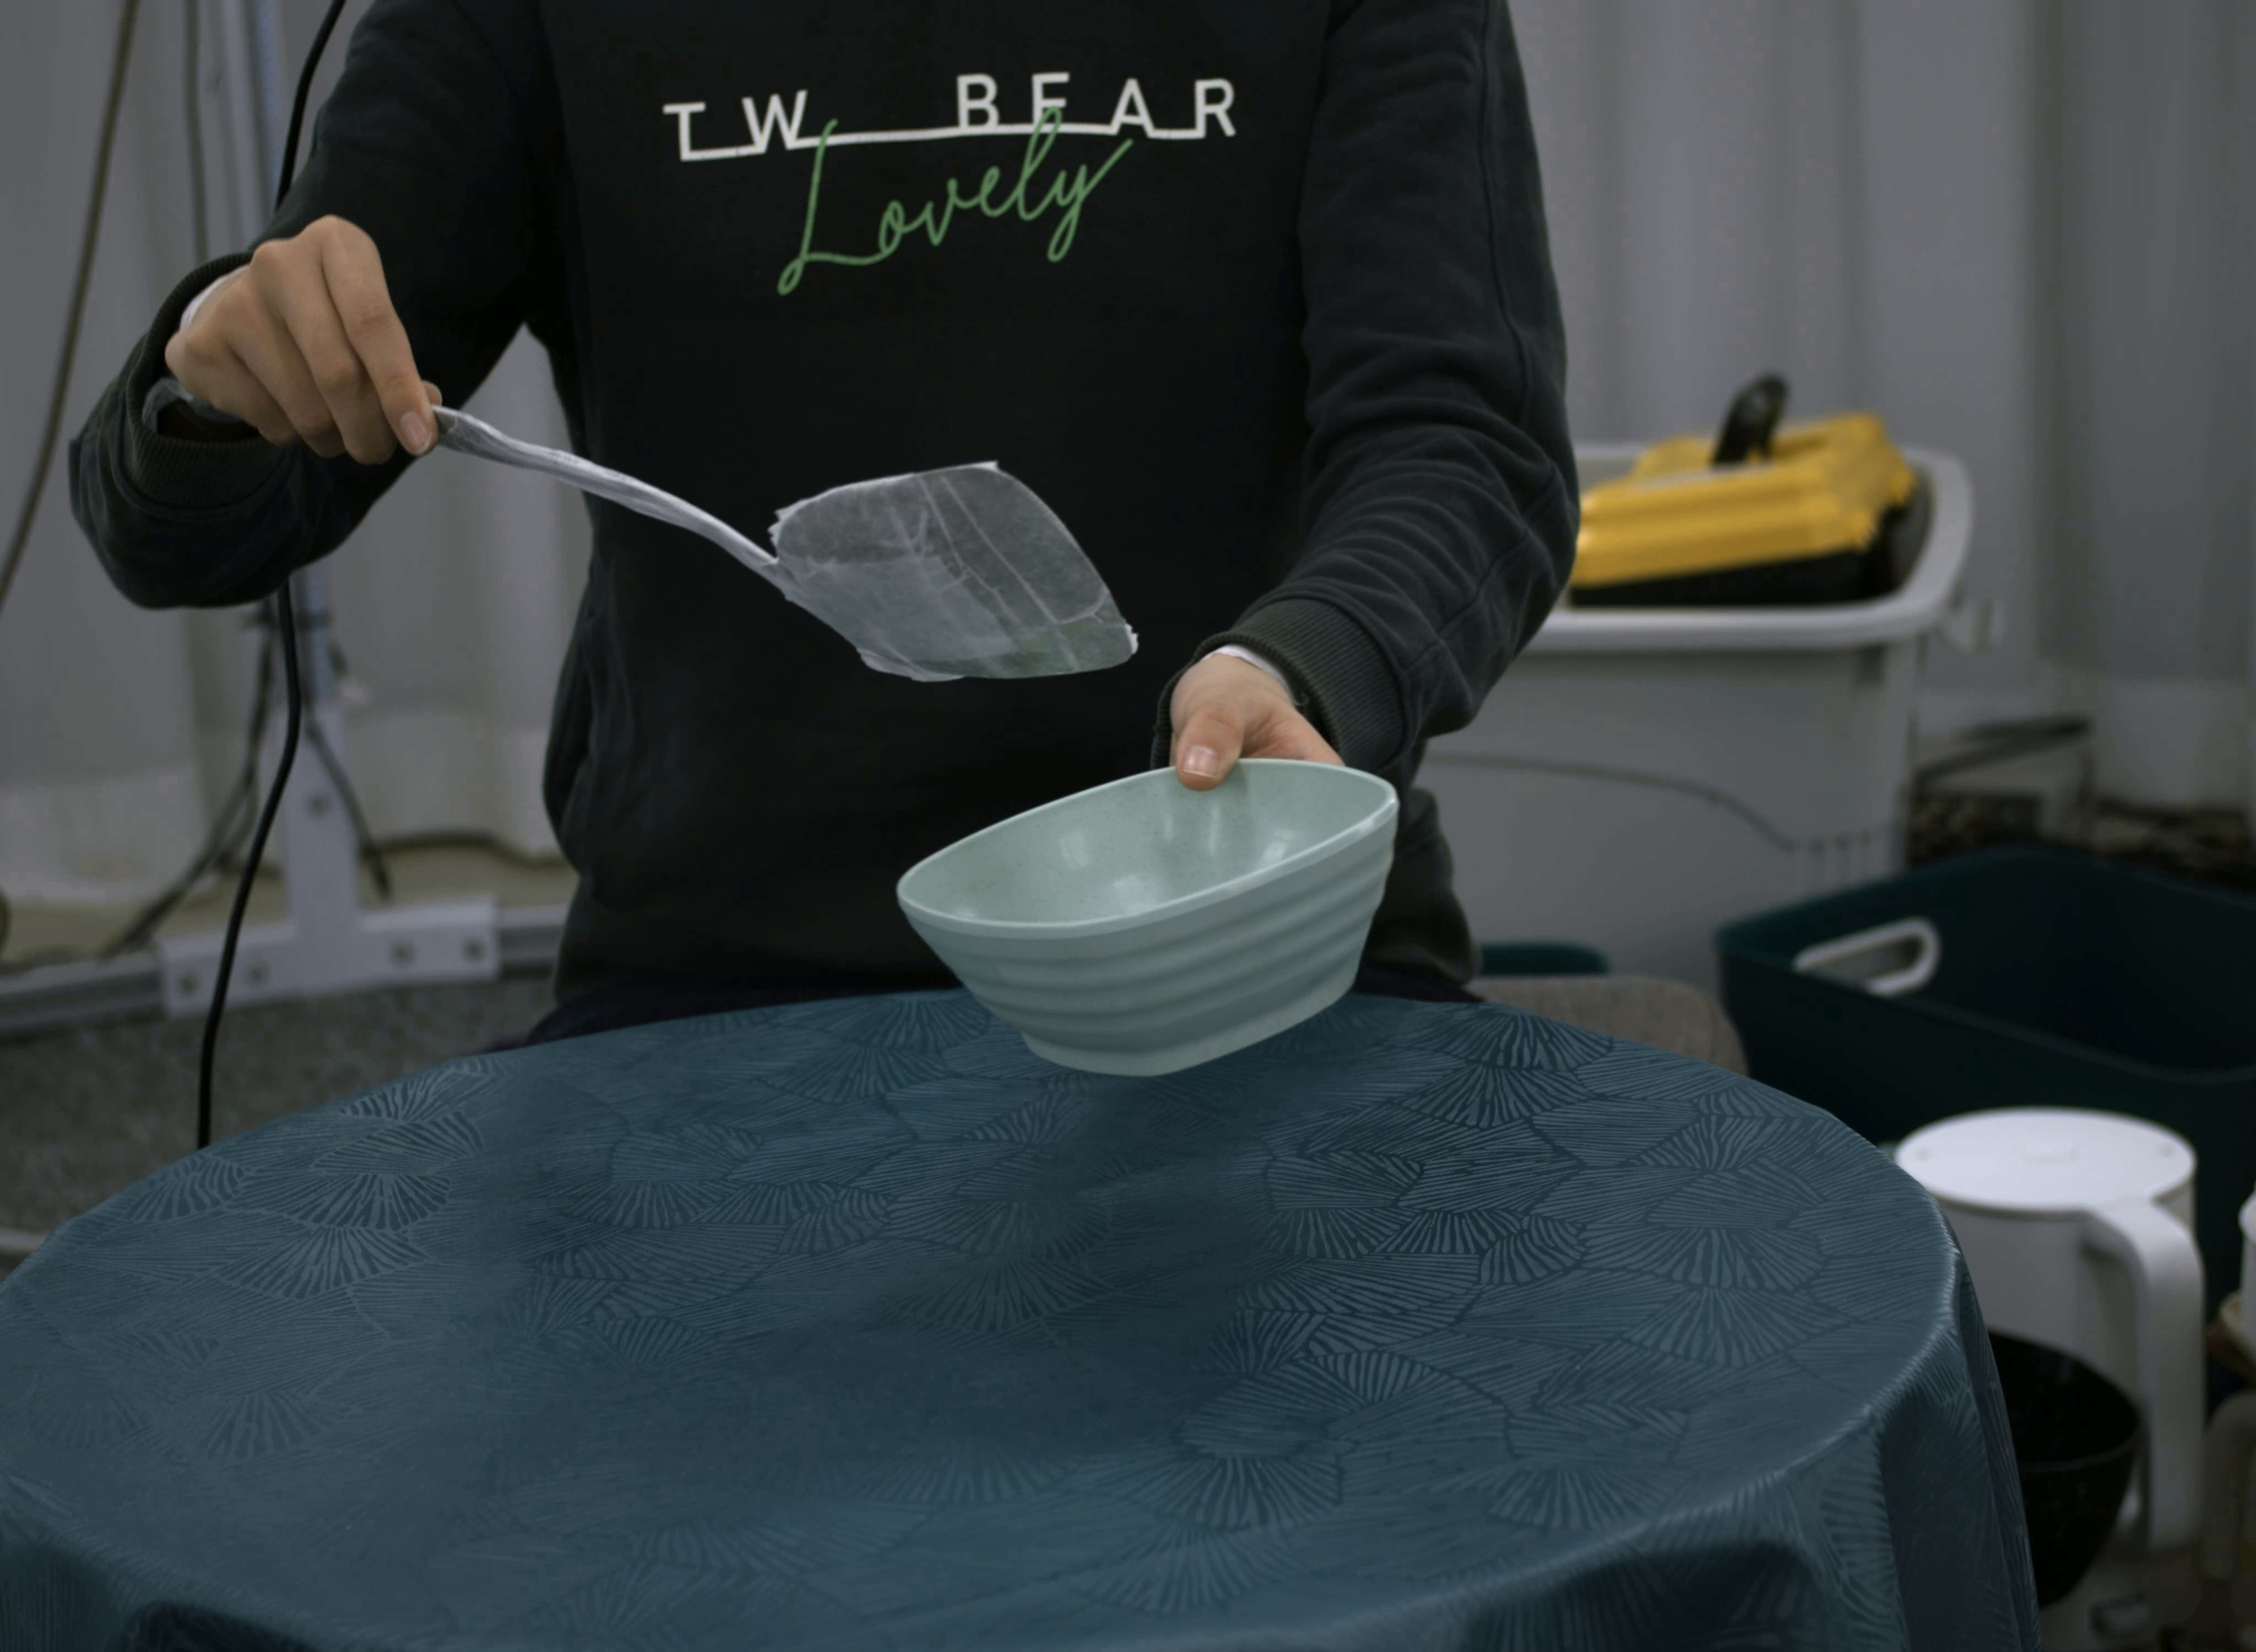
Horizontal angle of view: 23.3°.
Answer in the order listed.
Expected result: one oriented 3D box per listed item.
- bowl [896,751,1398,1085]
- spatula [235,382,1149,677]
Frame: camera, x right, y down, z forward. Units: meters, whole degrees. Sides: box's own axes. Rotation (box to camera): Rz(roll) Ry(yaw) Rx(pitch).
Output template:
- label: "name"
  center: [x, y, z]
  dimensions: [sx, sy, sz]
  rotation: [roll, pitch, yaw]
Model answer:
- label: "bowl"
  center: [0.010, 0.031, 1.608]
  dimensions: [0.151, 0.058, 0.153]
  rotation: [-11, 18, 3]
- label: "spatula"
  center: [-0.149, -0.105, 1.671]
  dimensions: [0.367, 0.097, 0.045]
  rotation: [19, 66, 39]
